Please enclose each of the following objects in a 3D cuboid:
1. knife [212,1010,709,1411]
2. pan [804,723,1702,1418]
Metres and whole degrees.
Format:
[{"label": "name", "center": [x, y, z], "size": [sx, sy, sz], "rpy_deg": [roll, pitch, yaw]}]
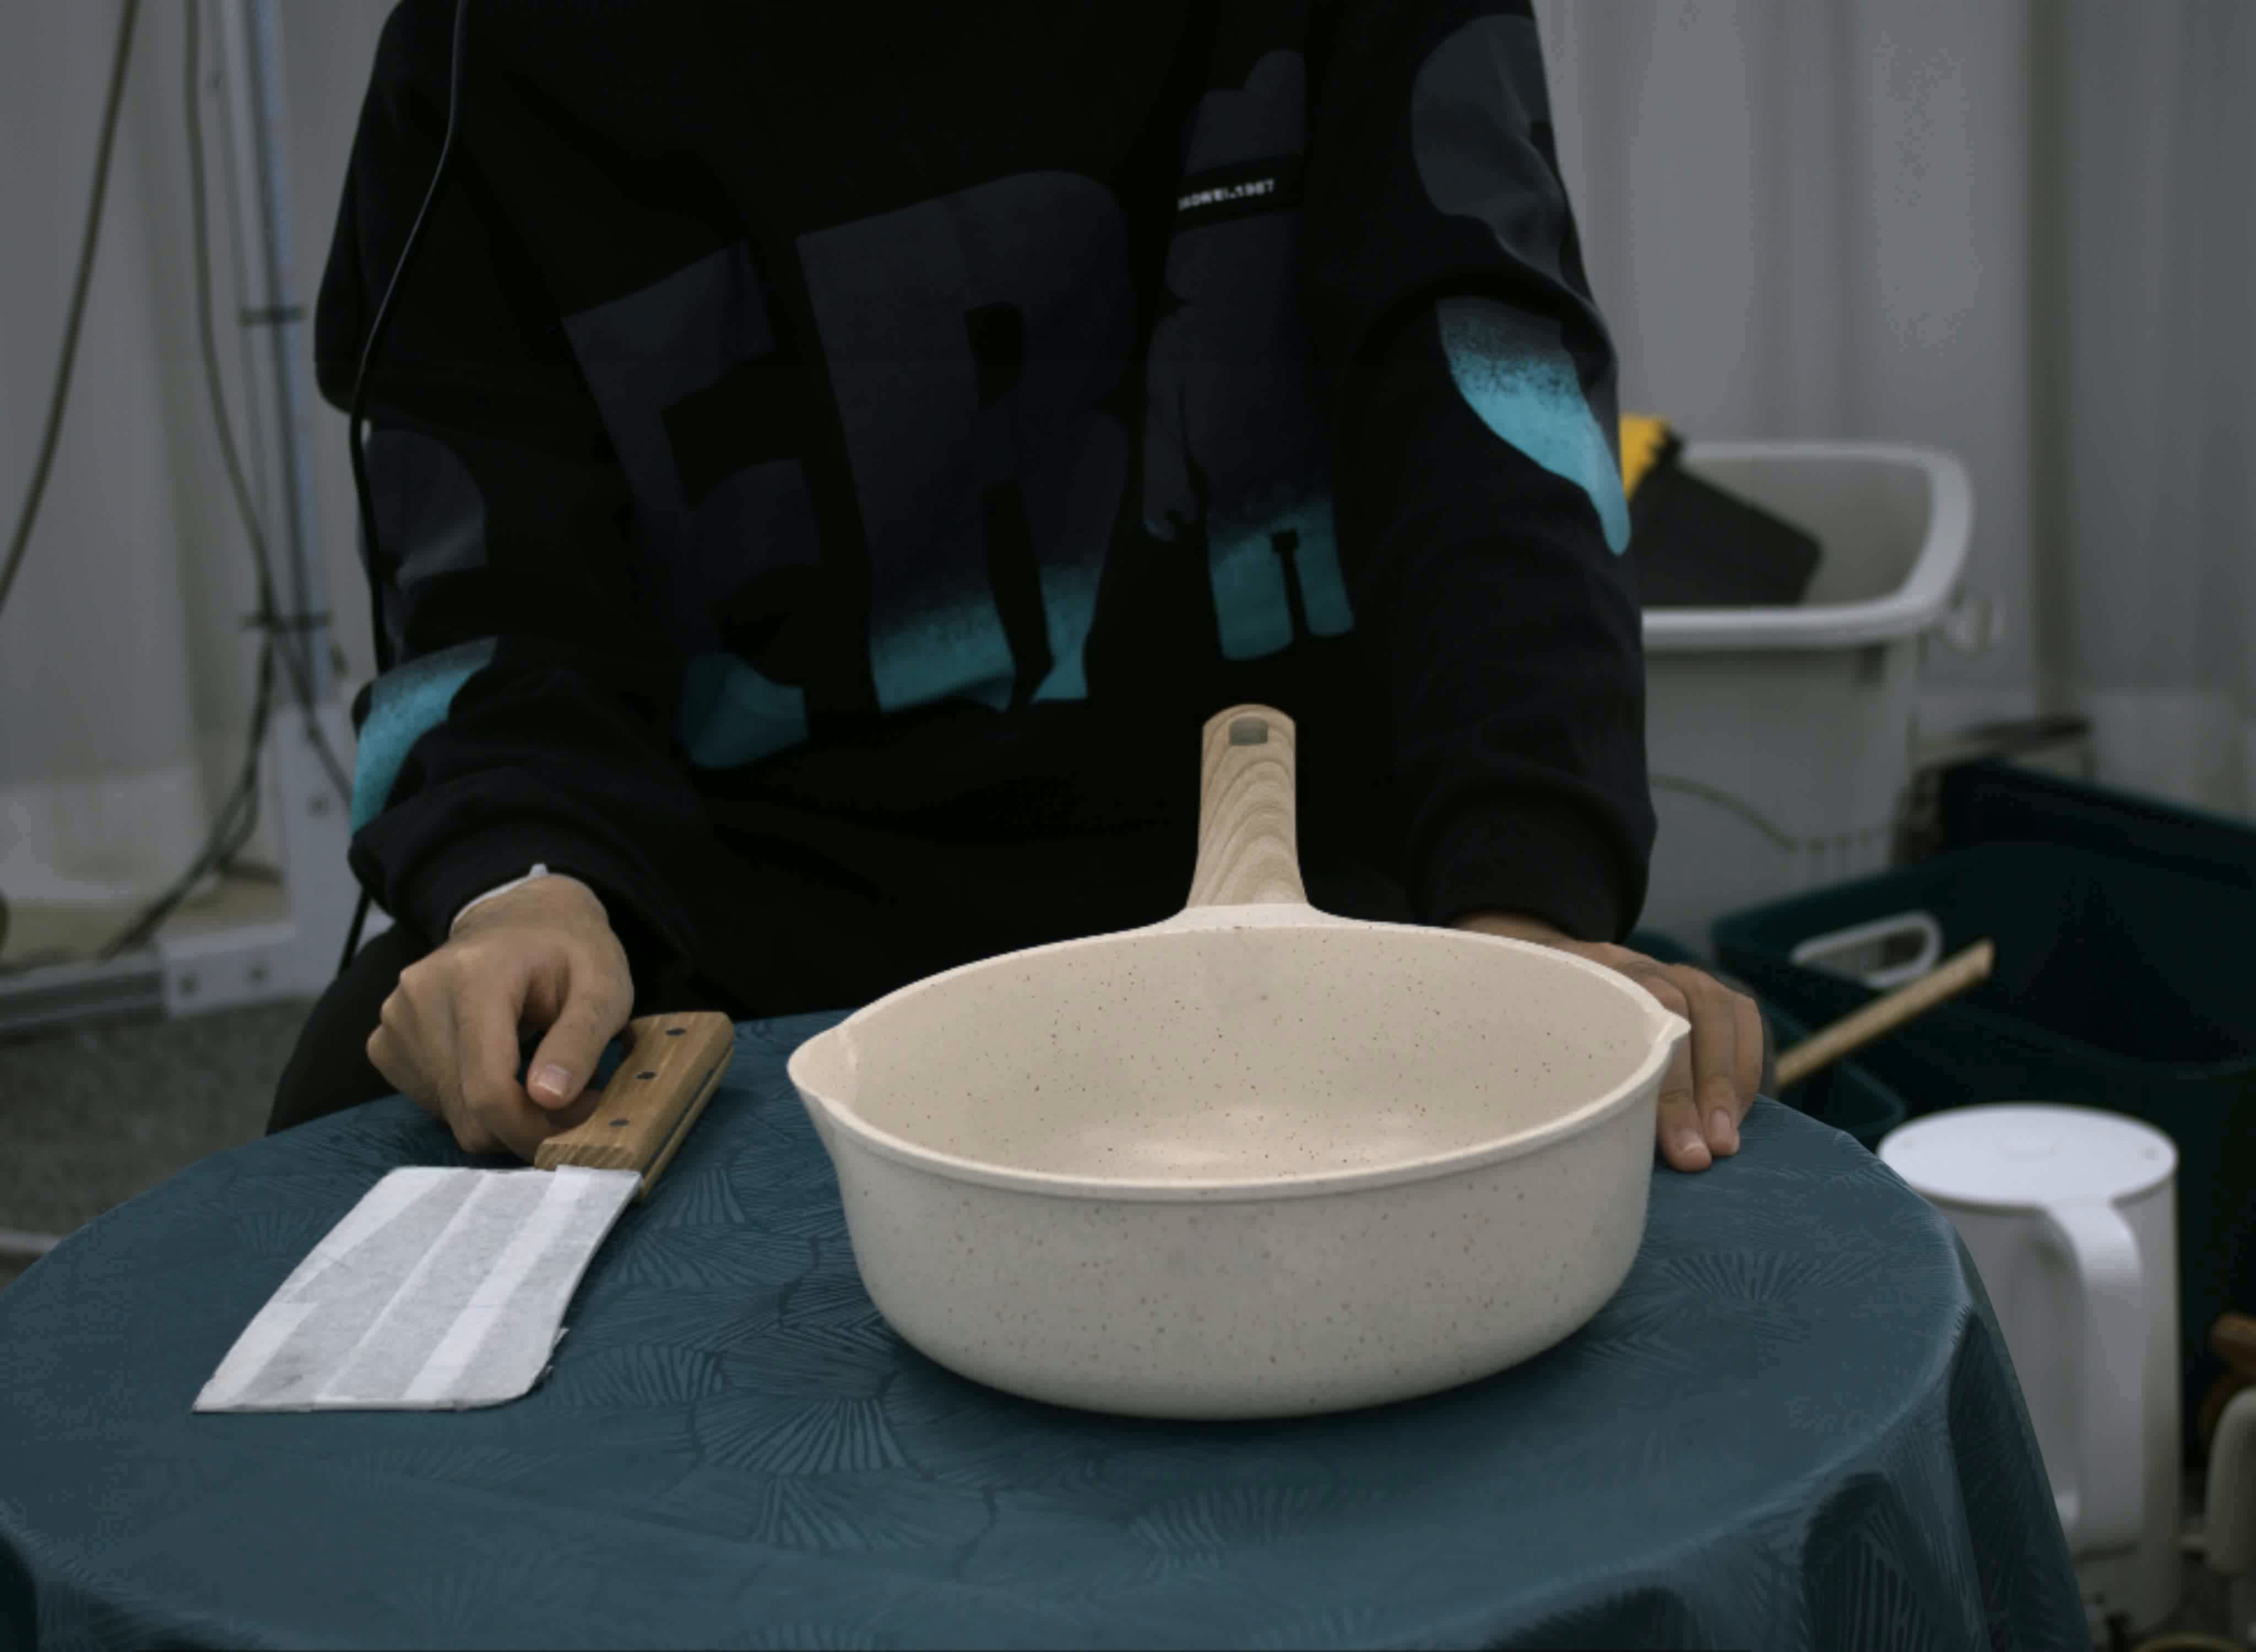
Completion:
[{"label": "knife", "center": [-0.189, 0.119, 1.701], "size": [0.114, 0.021, 0.317], "rpy_deg": [0, 18, 14]}, {"label": "pan", "center": [0.040, 0.070, 1.686], "size": [0.262, 0.101, 0.438], "rpy_deg": [-5, 15, 2]}]
